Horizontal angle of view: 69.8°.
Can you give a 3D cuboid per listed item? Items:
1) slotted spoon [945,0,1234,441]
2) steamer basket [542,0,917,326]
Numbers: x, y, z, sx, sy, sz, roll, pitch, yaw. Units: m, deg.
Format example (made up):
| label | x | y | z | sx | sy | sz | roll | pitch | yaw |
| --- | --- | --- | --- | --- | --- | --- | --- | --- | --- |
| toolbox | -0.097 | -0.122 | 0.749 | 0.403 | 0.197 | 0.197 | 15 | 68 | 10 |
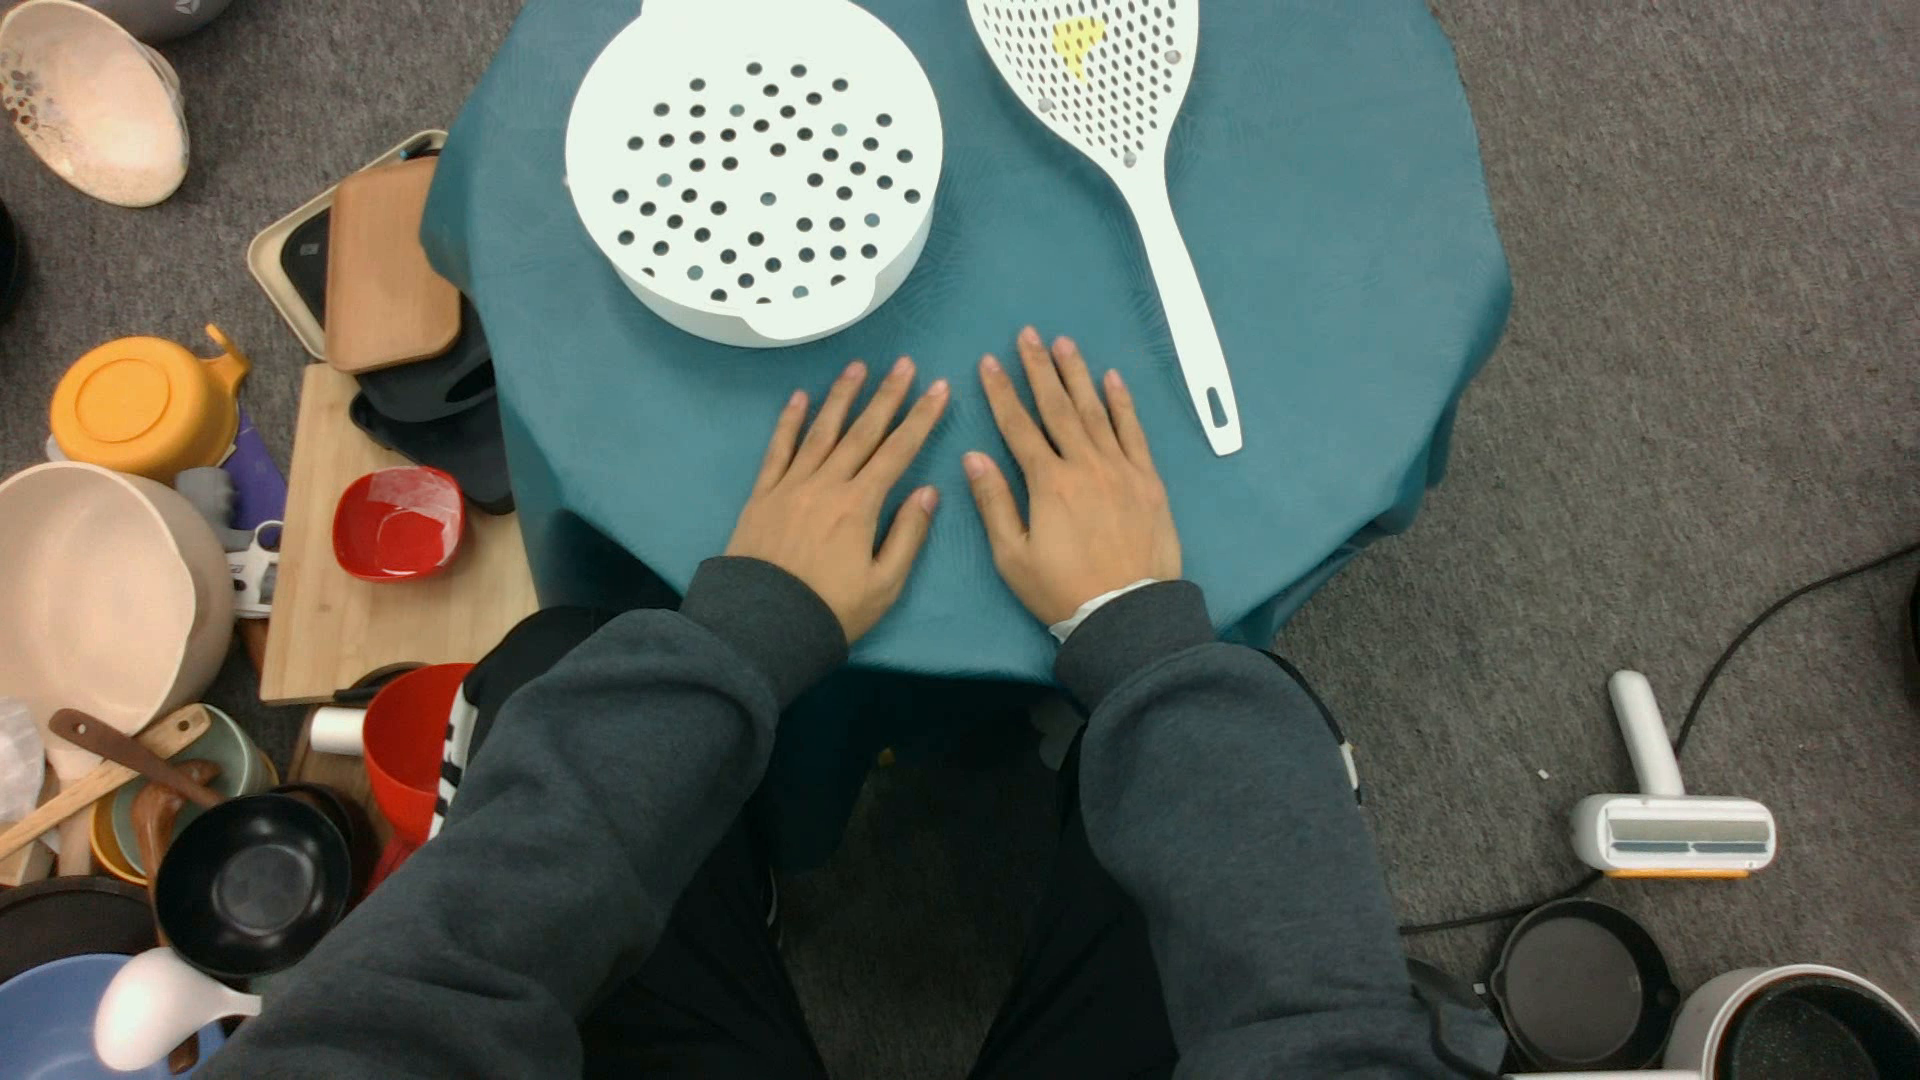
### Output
| label | x | y | z | sx | sy | sz | roll | pitch | yaw |
| --- | --- | --- | --- | --- | --- | --- | --- | --- | --- |
| slotted spoon | 0.089 | -0.221 | 0.796 | 0.137 | 0.050 | 0.348 | -16 | 76 | -10 |
| steamer basket | -0.125 | -0.217 | 0.771 | 0.202 | 0.069 | 0.231 | -19 | 74 | -7 |
